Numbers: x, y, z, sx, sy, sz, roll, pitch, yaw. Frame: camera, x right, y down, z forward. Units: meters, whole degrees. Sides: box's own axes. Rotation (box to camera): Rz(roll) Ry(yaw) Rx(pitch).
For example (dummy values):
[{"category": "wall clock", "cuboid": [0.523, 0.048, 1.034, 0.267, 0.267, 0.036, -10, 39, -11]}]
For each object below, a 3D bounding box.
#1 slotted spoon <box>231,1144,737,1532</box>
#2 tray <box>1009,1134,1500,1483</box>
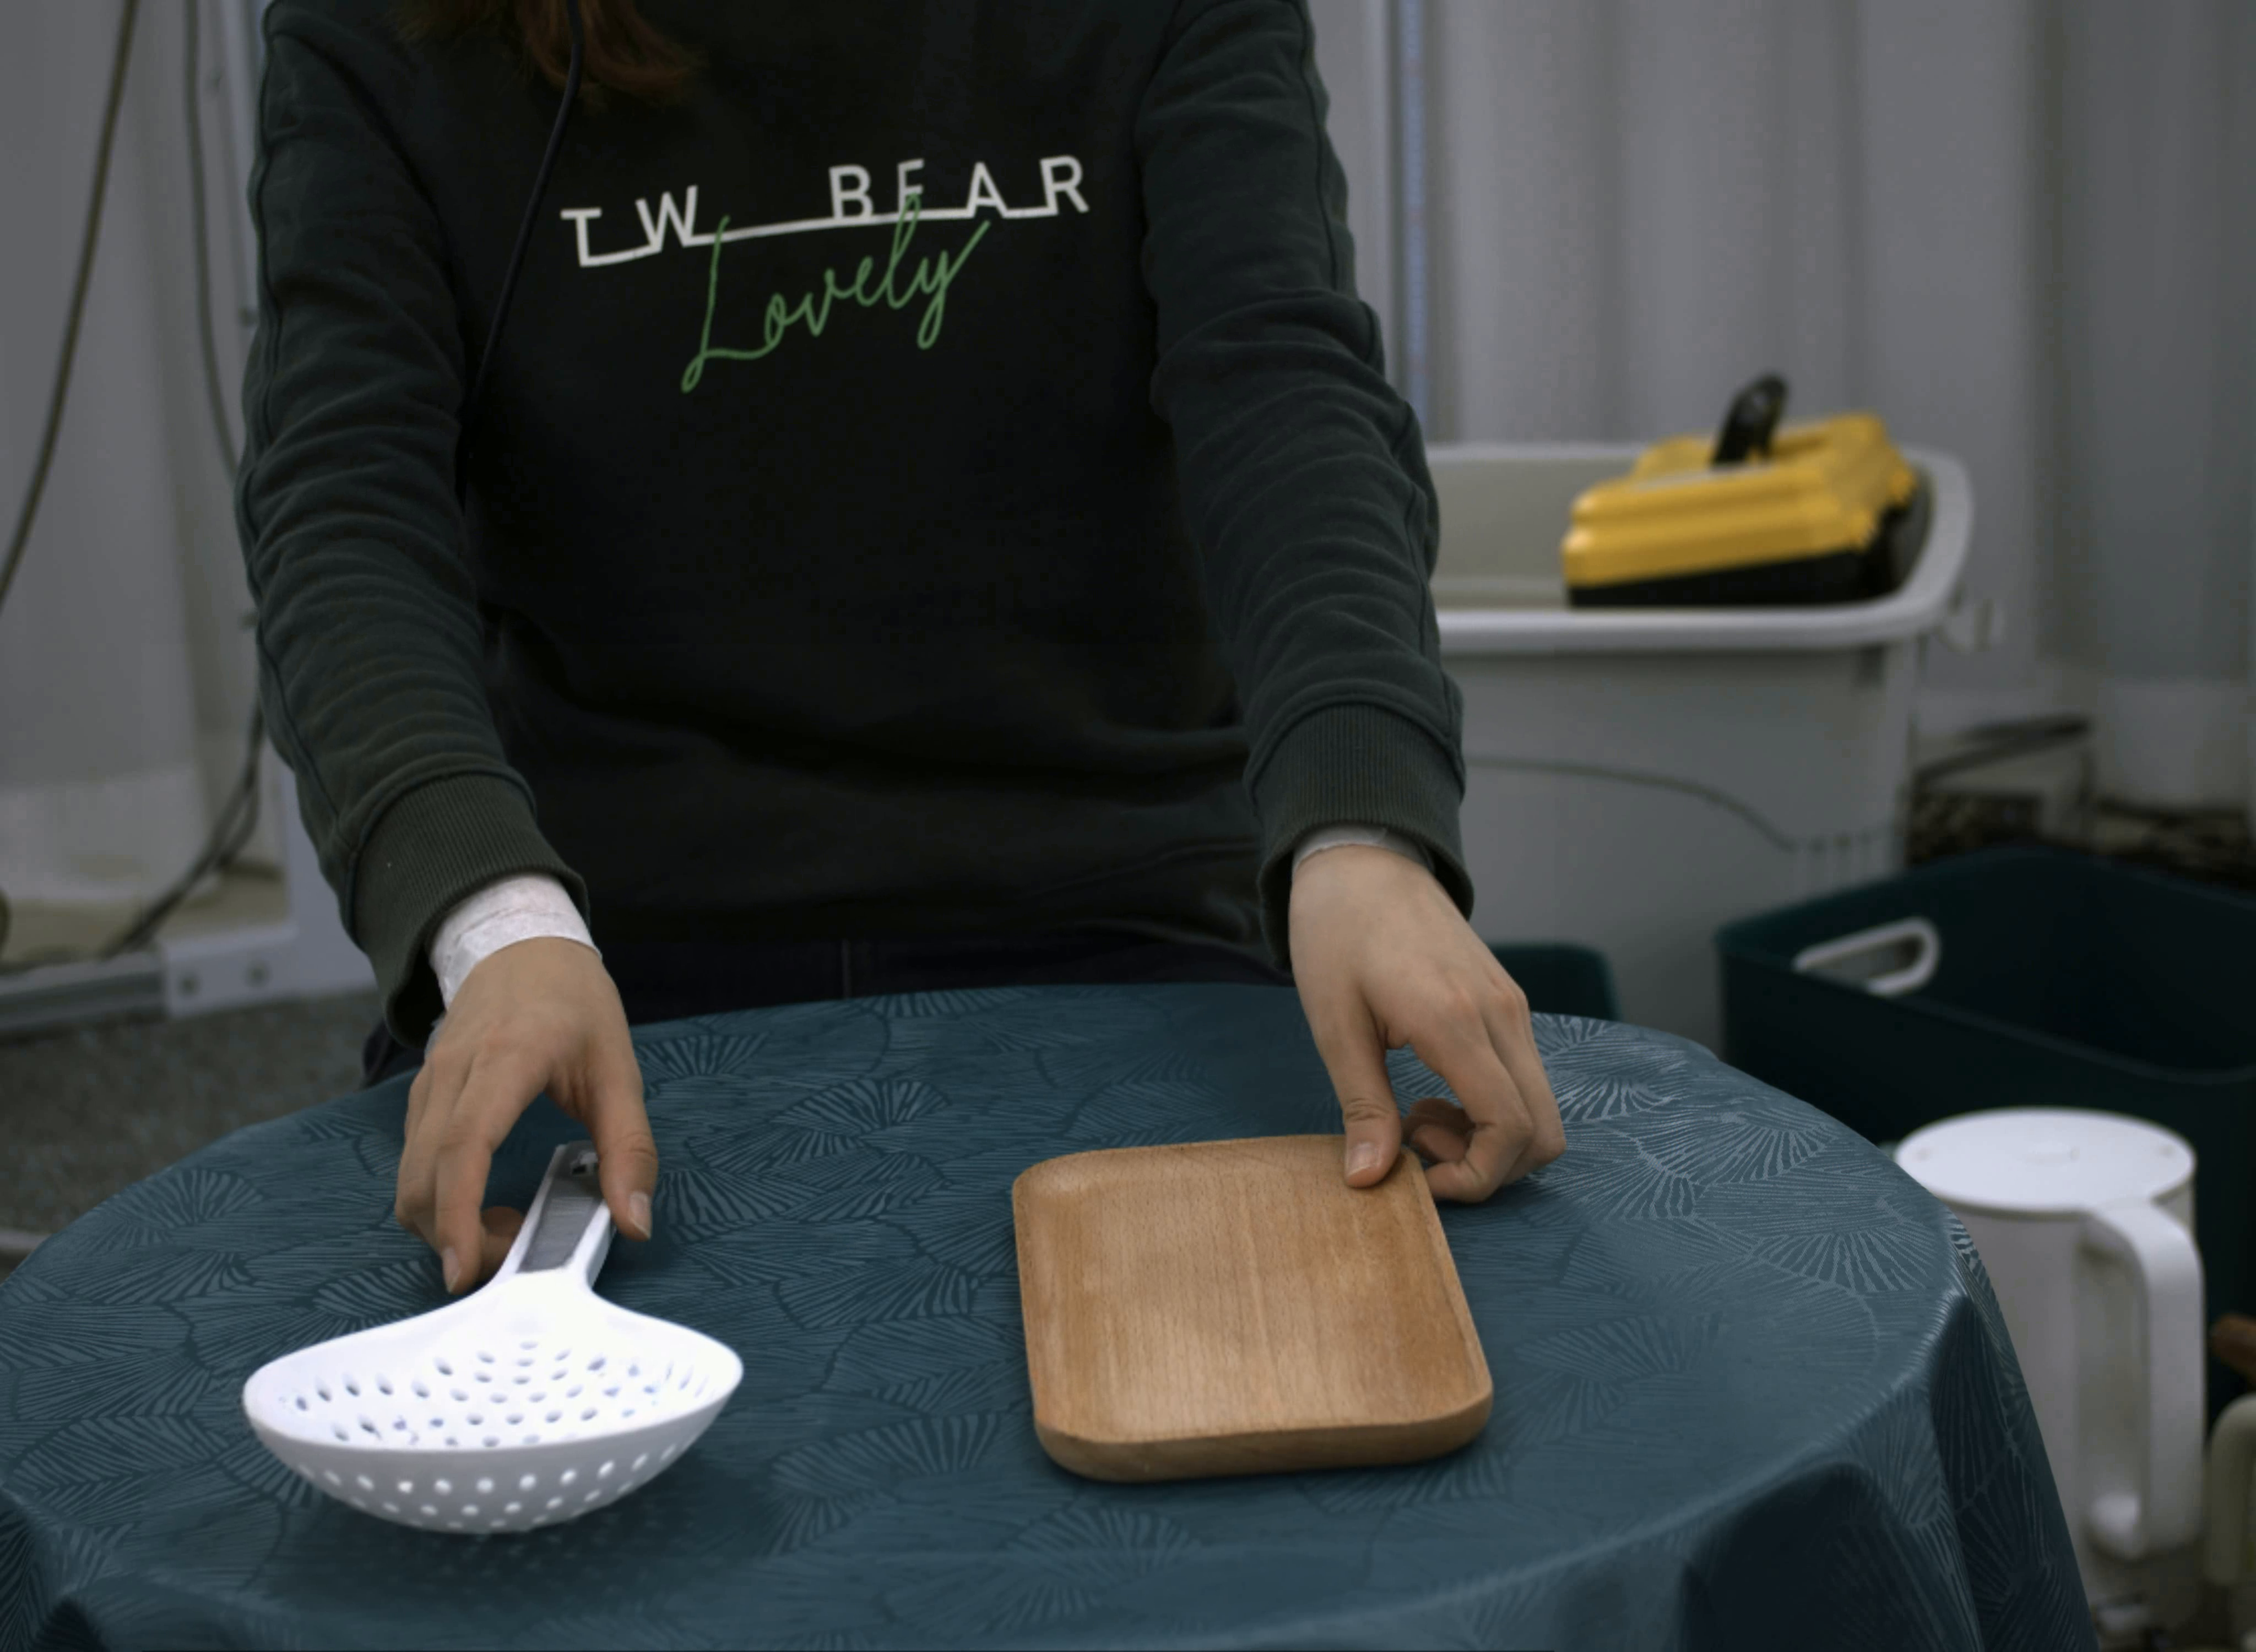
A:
[{"category": "slotted spoon", "cuboid": [-0.171, 0.138, 1.574, 0.135, 0.045, 0.352, 0, 14, 1]}, {"category": "tray", "cuboid": [0.033, 0.138, 1.590, 0.130, 0.023, 0.252, -2, 14, -2]}]
